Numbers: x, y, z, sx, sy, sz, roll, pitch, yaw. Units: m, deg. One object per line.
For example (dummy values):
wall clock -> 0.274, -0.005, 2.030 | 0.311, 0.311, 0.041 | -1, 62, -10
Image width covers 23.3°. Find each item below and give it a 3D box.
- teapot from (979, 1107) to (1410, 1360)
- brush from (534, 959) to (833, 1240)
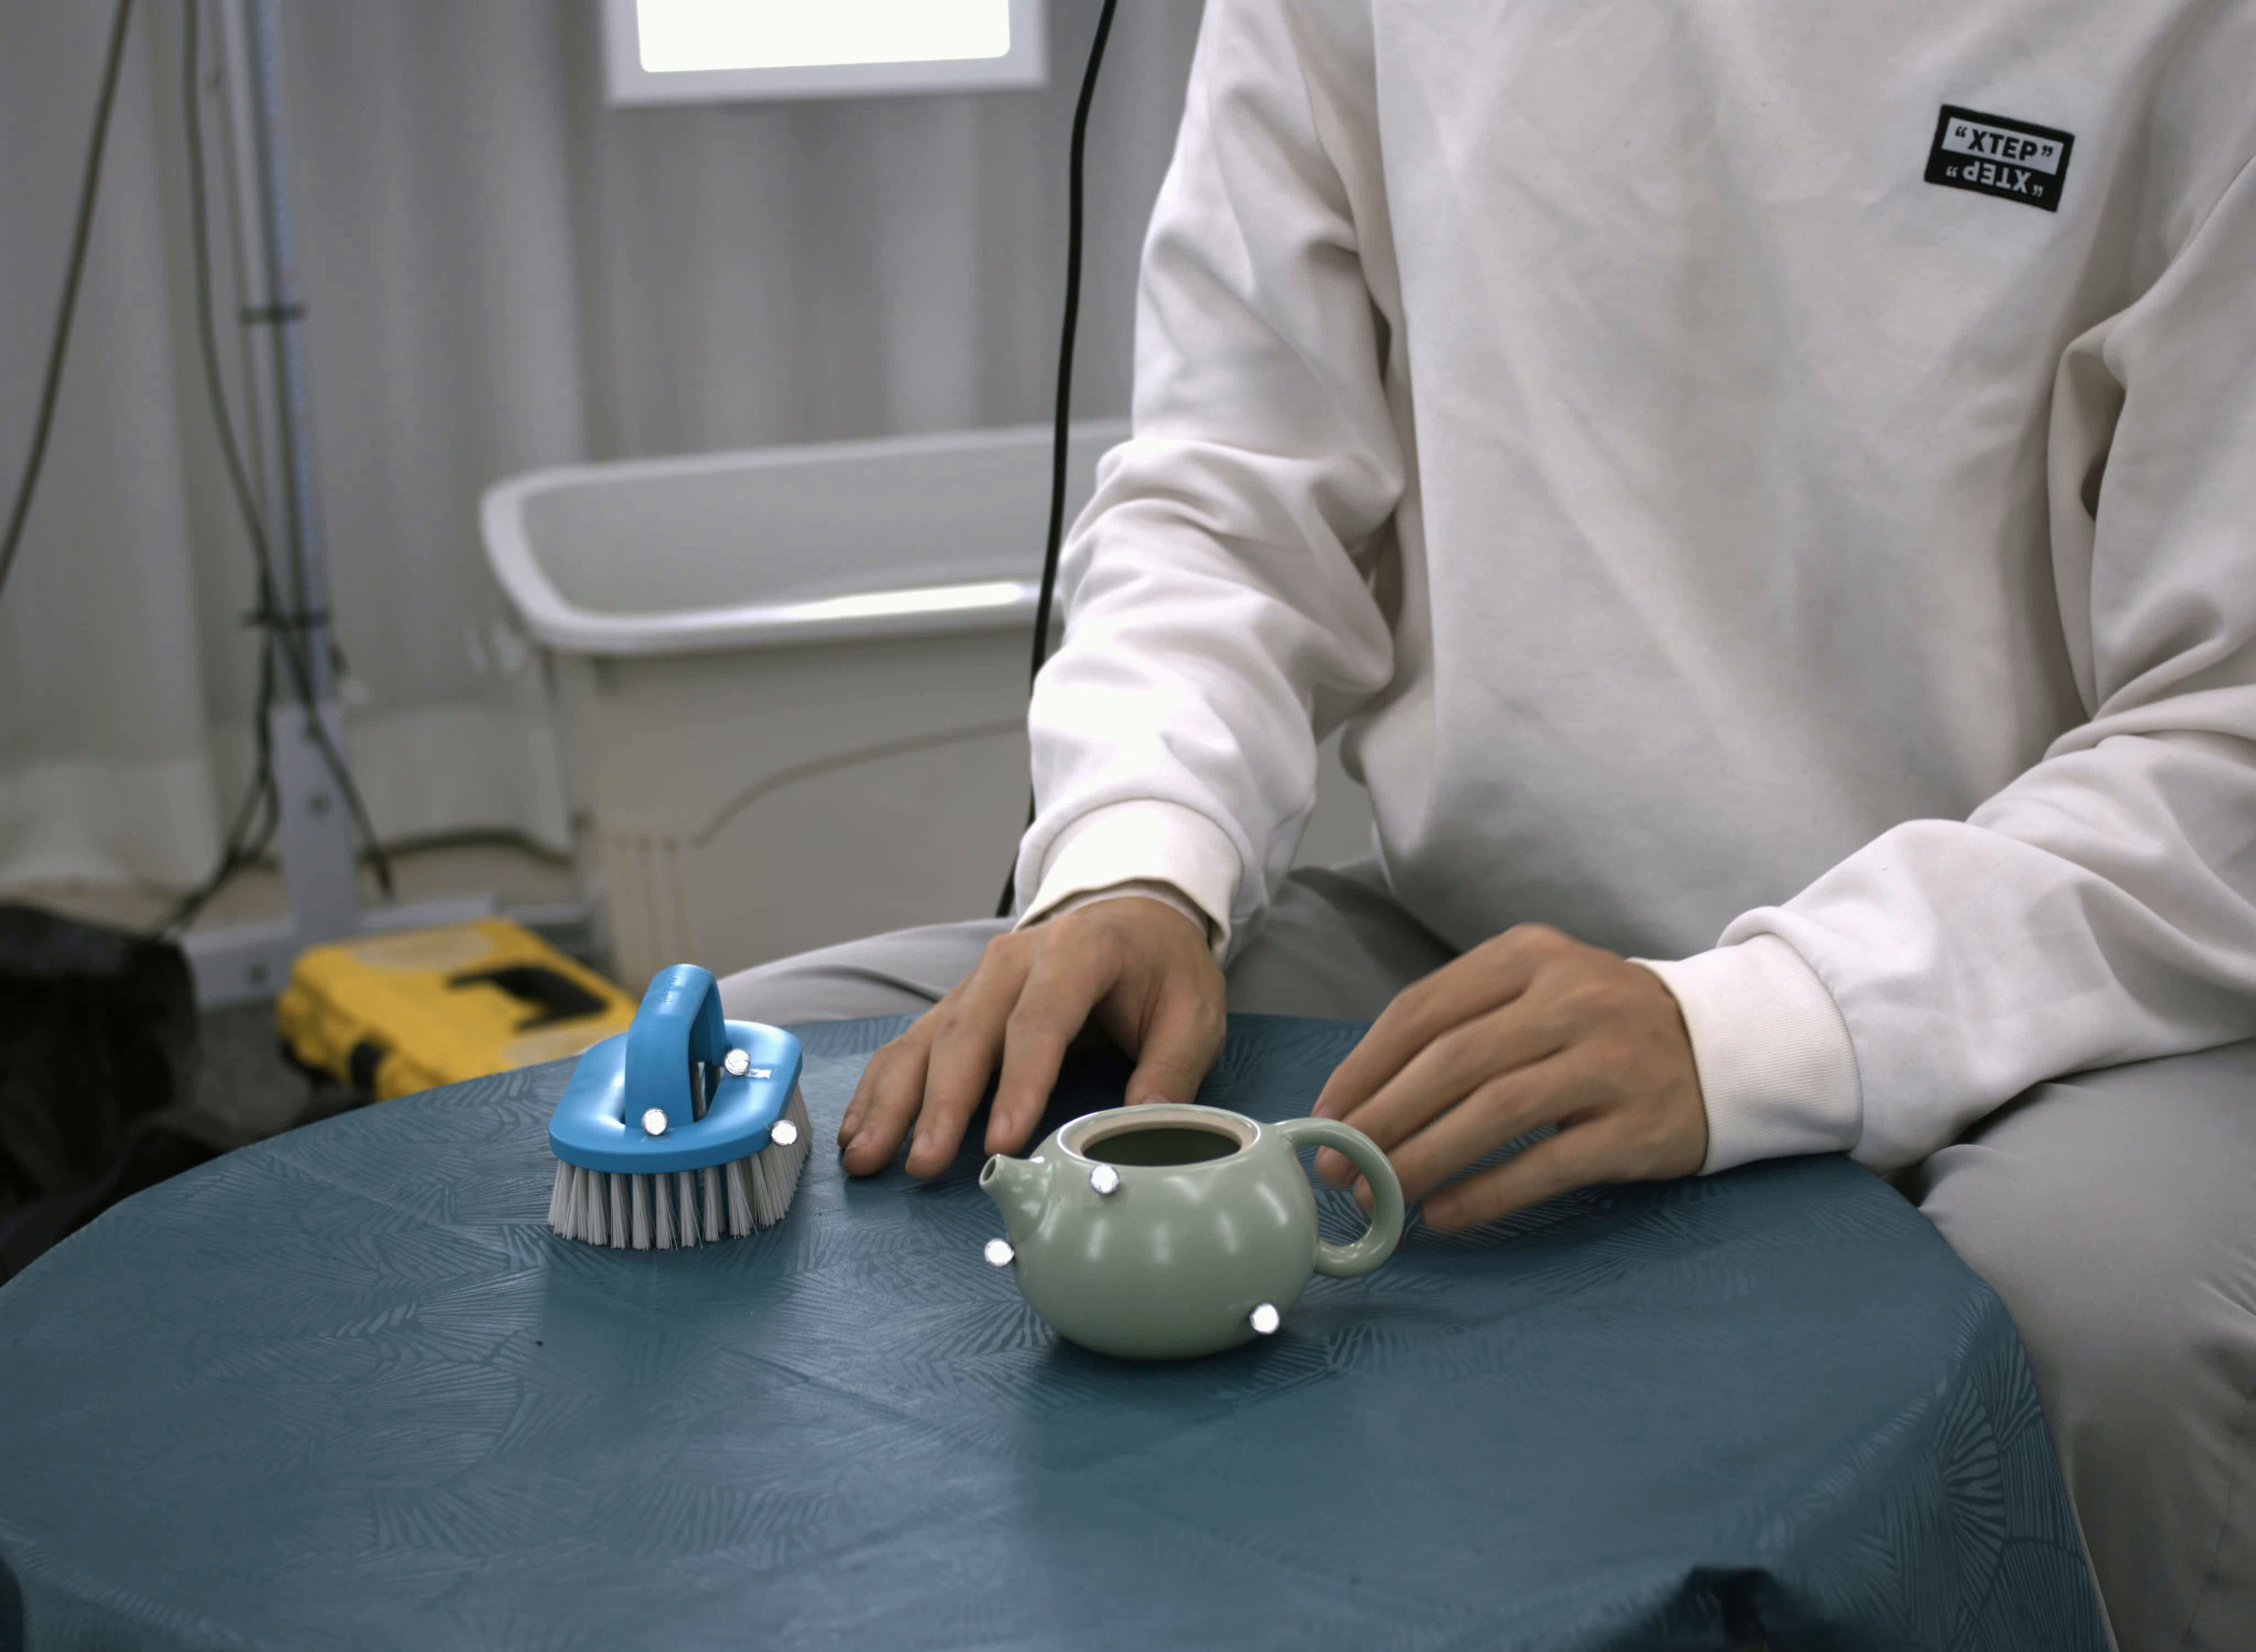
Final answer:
teapot -> 0.020, 0.118, 1.590 | 0.128, 0.061, 0.092 | -4, 12, -11
brush -> -0.143, 0.081, 1.743 | 0.084, 0.063, 0.142 | -6, 14, 7
